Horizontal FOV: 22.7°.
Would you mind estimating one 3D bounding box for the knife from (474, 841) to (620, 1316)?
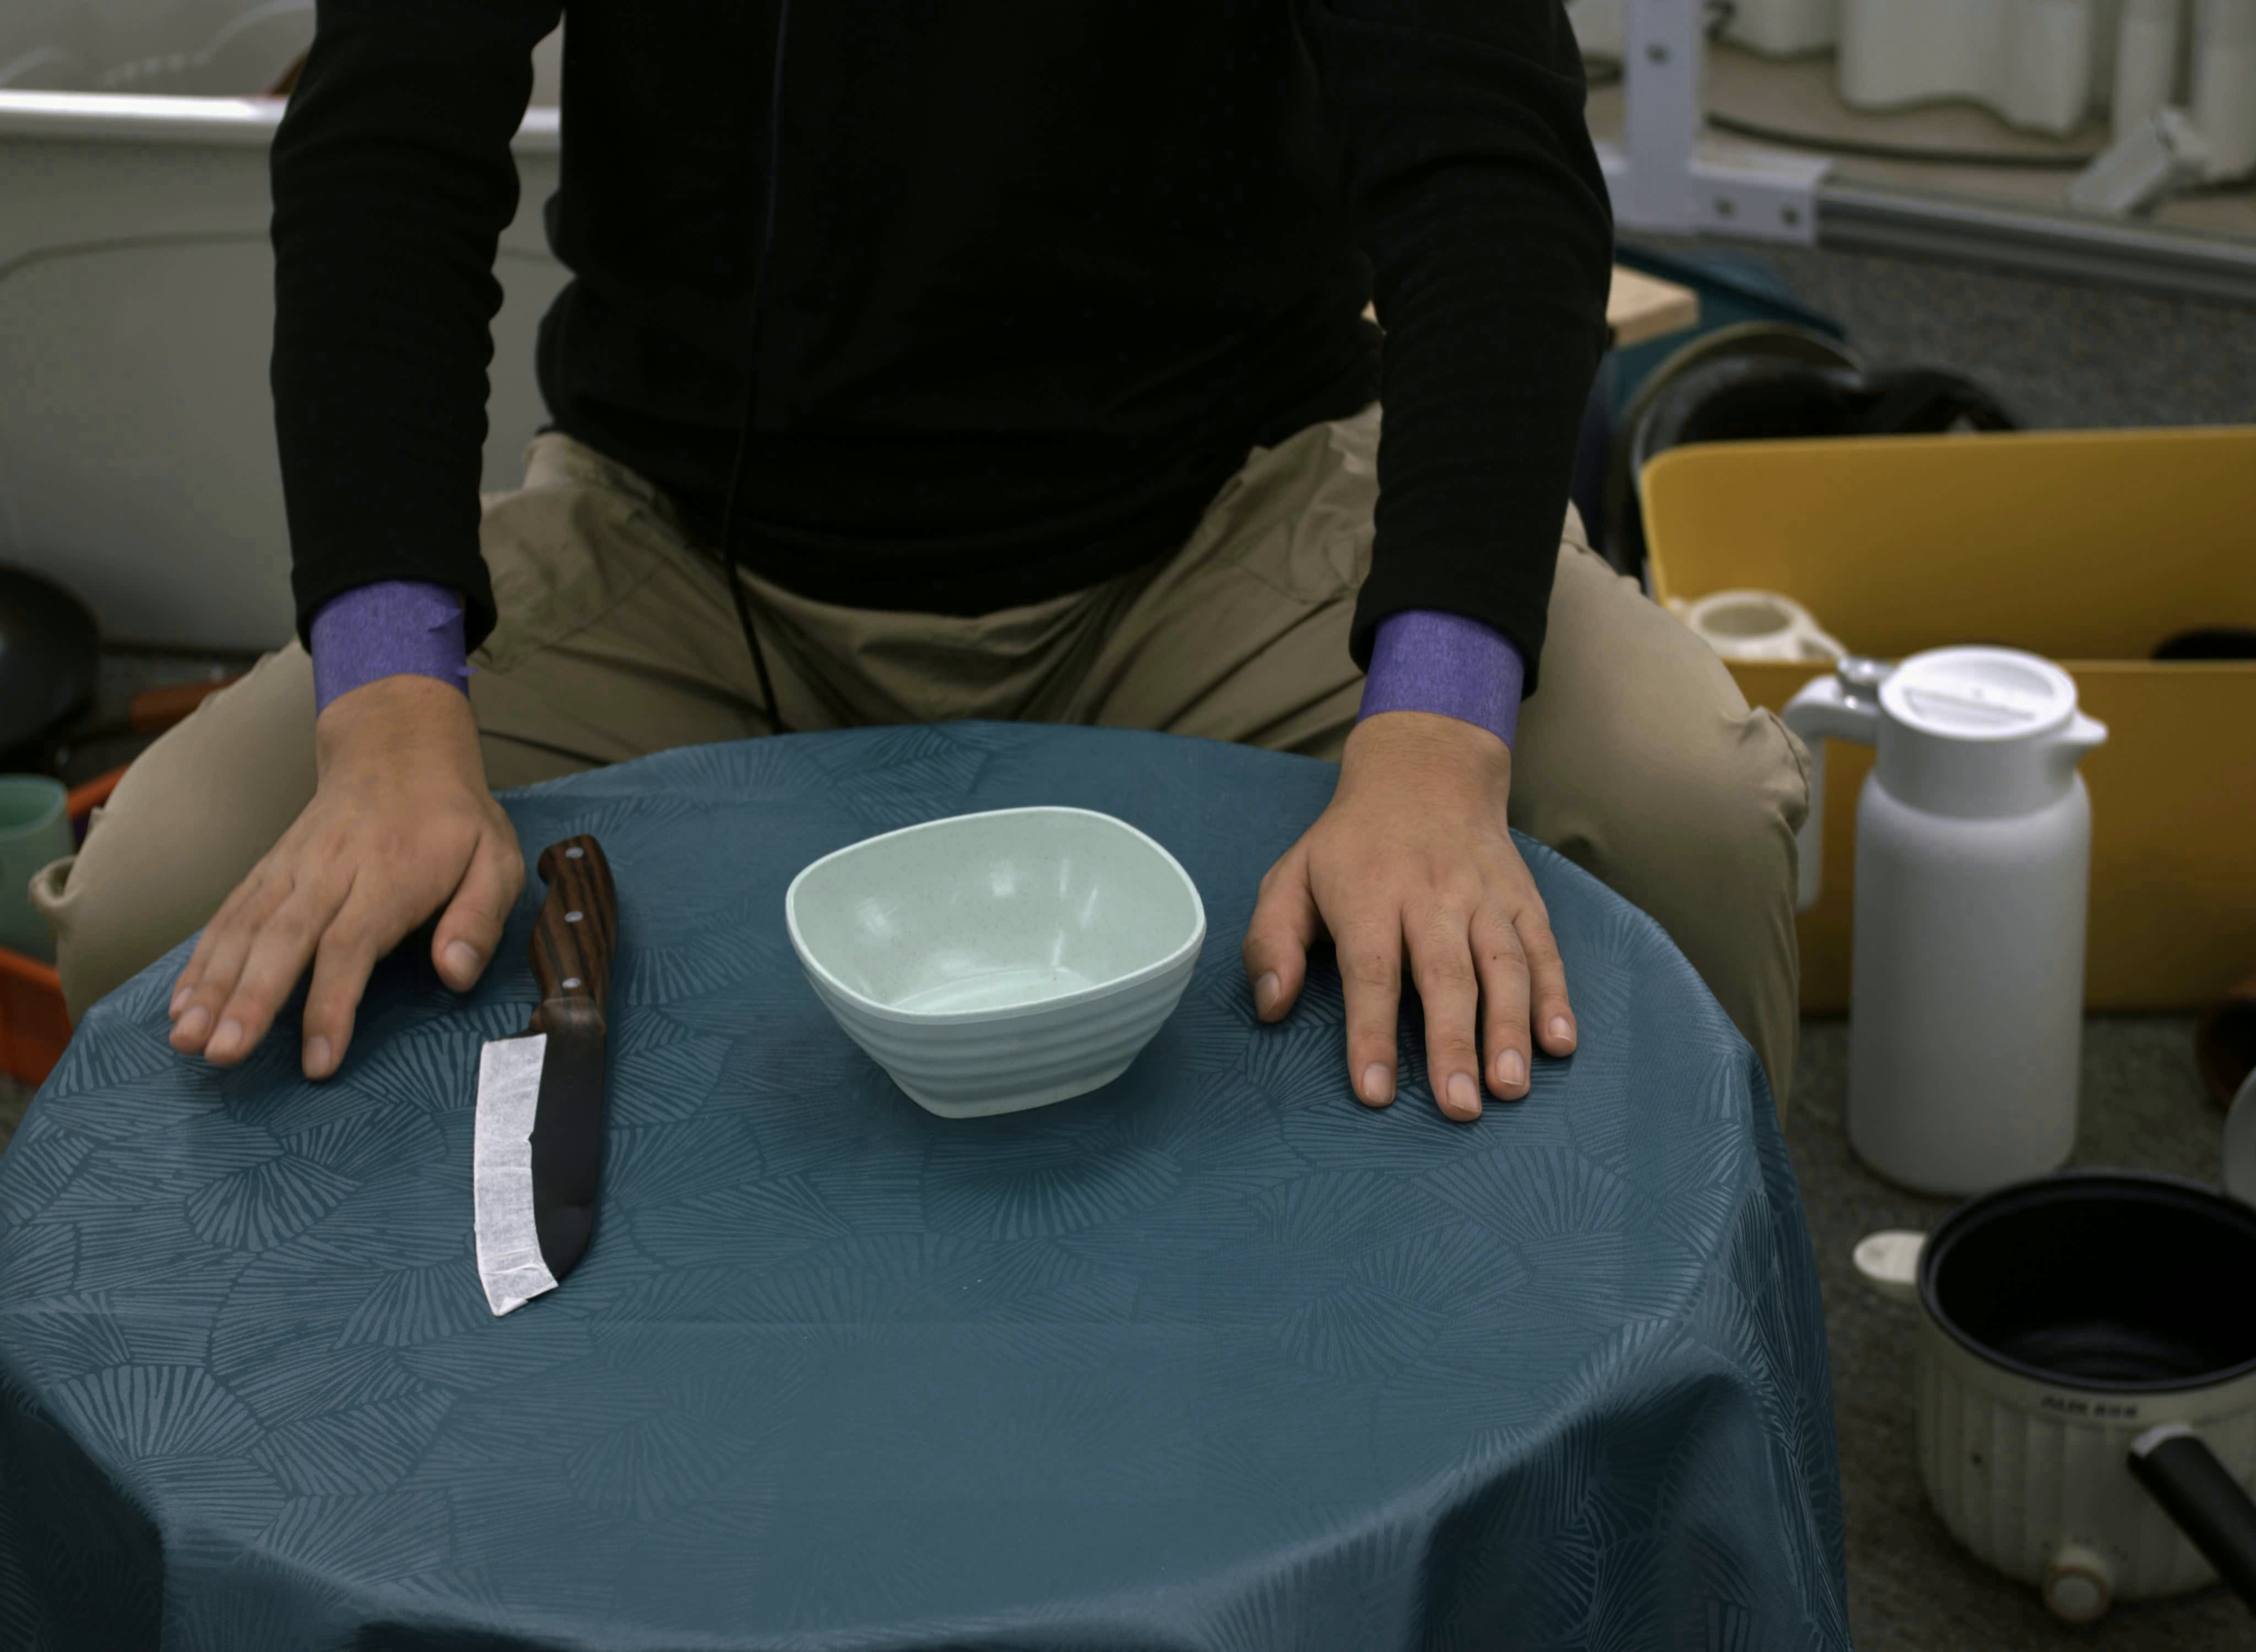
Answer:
[{"bbox_3d":[-0.199,0.085,1.933,0.050,0.020,0.294,-7,30,3],"label":"knife"}]

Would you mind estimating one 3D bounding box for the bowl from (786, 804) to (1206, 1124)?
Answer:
[{"bbox_3d":[-0.045,0.053,1.936,0.151,0.058,0.154,-2,29,1],"label":"bowl"}]
